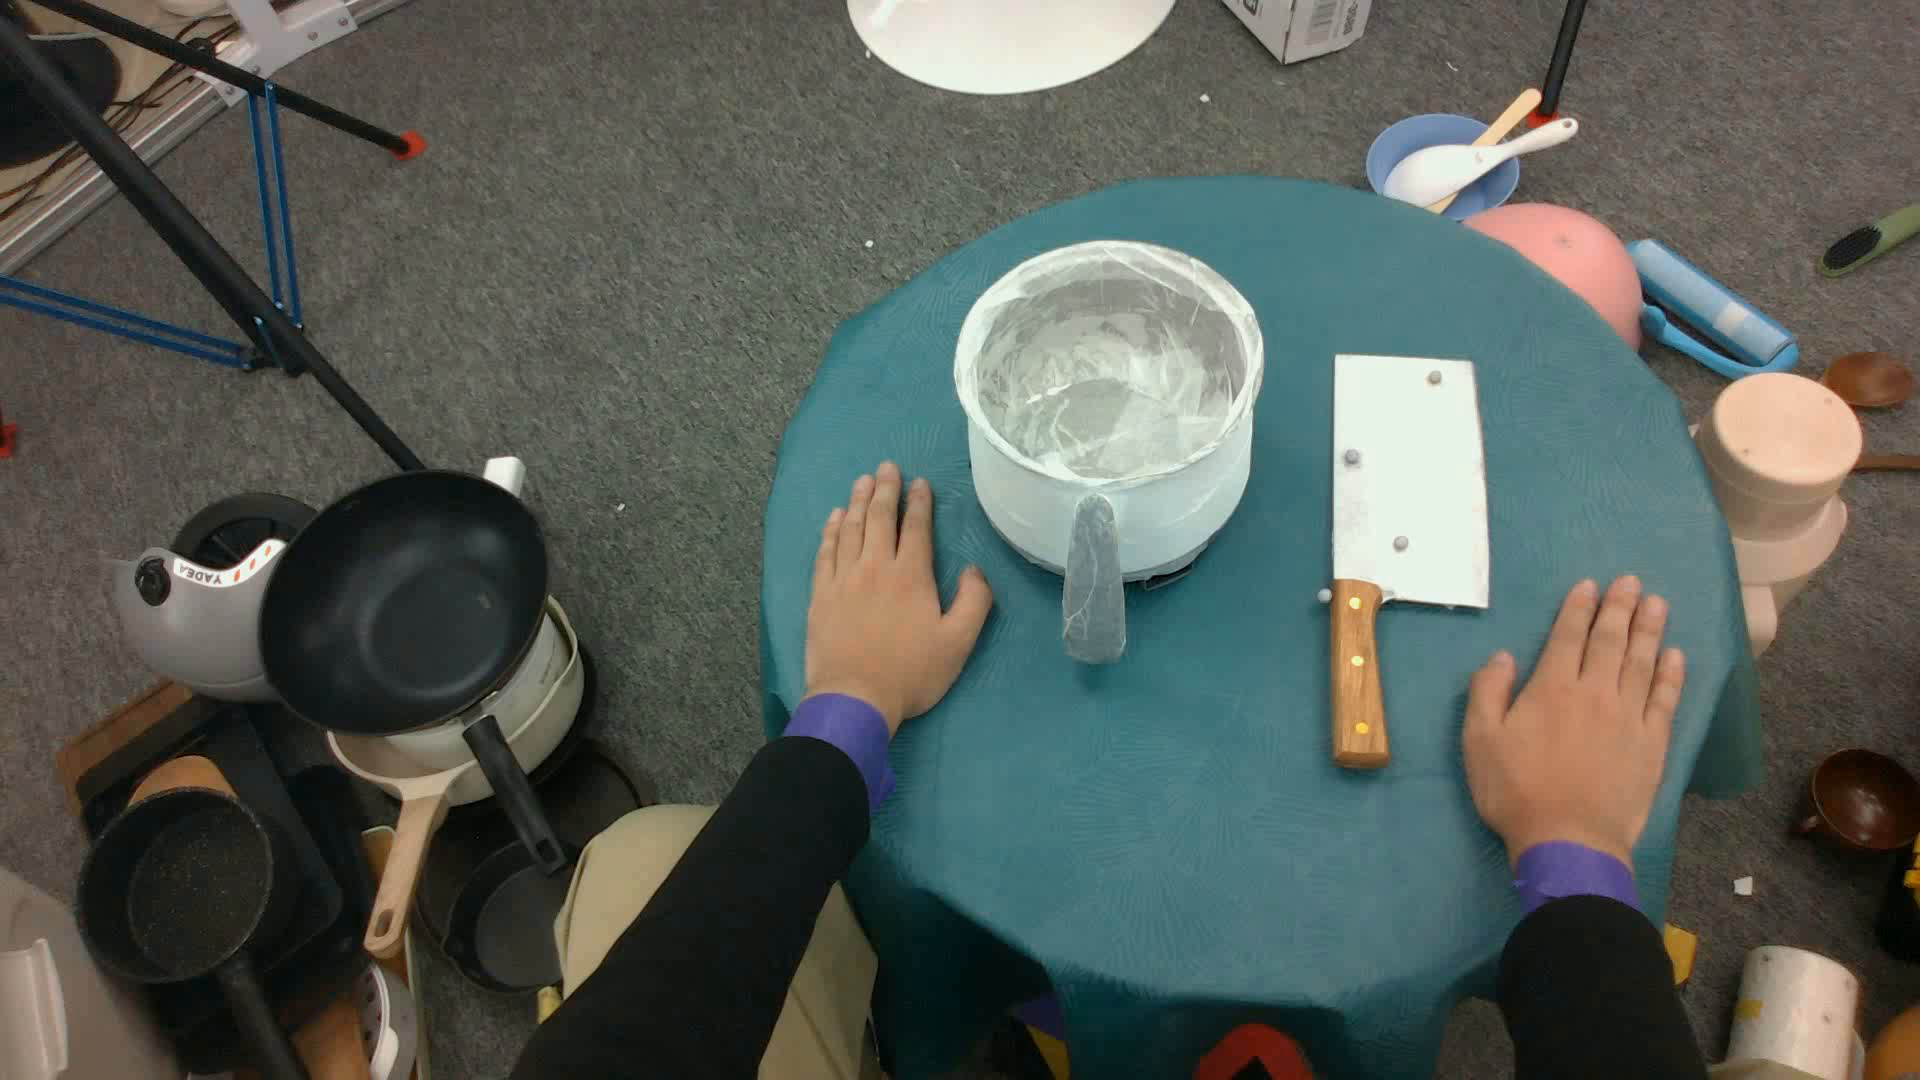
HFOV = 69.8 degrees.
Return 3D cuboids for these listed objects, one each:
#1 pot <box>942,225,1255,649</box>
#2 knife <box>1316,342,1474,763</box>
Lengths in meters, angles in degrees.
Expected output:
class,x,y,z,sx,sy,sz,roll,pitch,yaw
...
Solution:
class,x,y,z,sx,sy,sz,roll,pitch,yaw
pot,0.082,-0.058,0.825,0.178,0.136,0.235,1,59,8
knife,0.266,-0.004,0.845,0.093,0.021,0.307,4,58,9
